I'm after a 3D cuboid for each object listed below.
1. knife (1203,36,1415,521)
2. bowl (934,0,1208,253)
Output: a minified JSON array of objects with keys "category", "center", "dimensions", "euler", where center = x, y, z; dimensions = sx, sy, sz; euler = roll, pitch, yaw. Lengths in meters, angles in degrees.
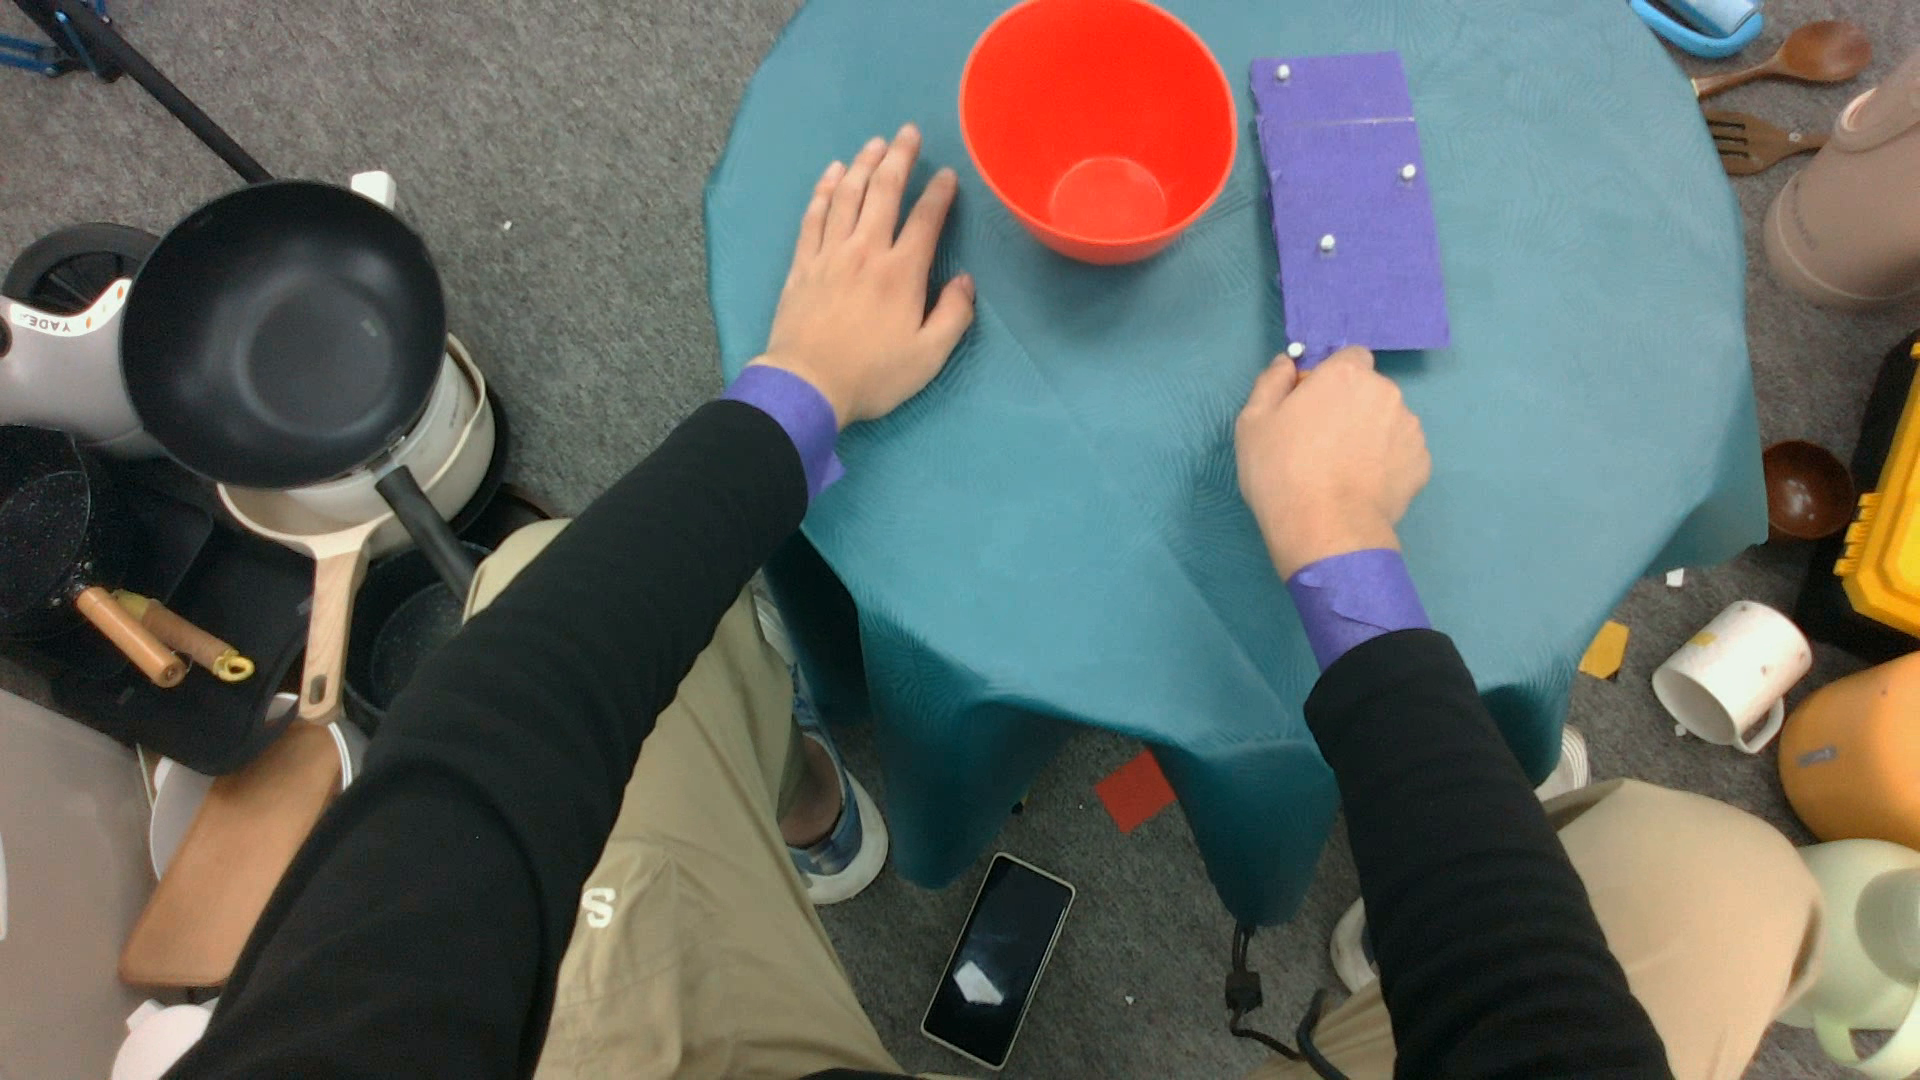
[{"category":"knife","center":[0.205,-0.162,0.779],"dimensions":[0.104,0.032,0.316],"euler":[-3,68,2]},{"category":"bowl","center":[0.061,-0.219,0.769],"dimensions":[0.148,0.104,0.148],"euler":[0,70,0]}]
